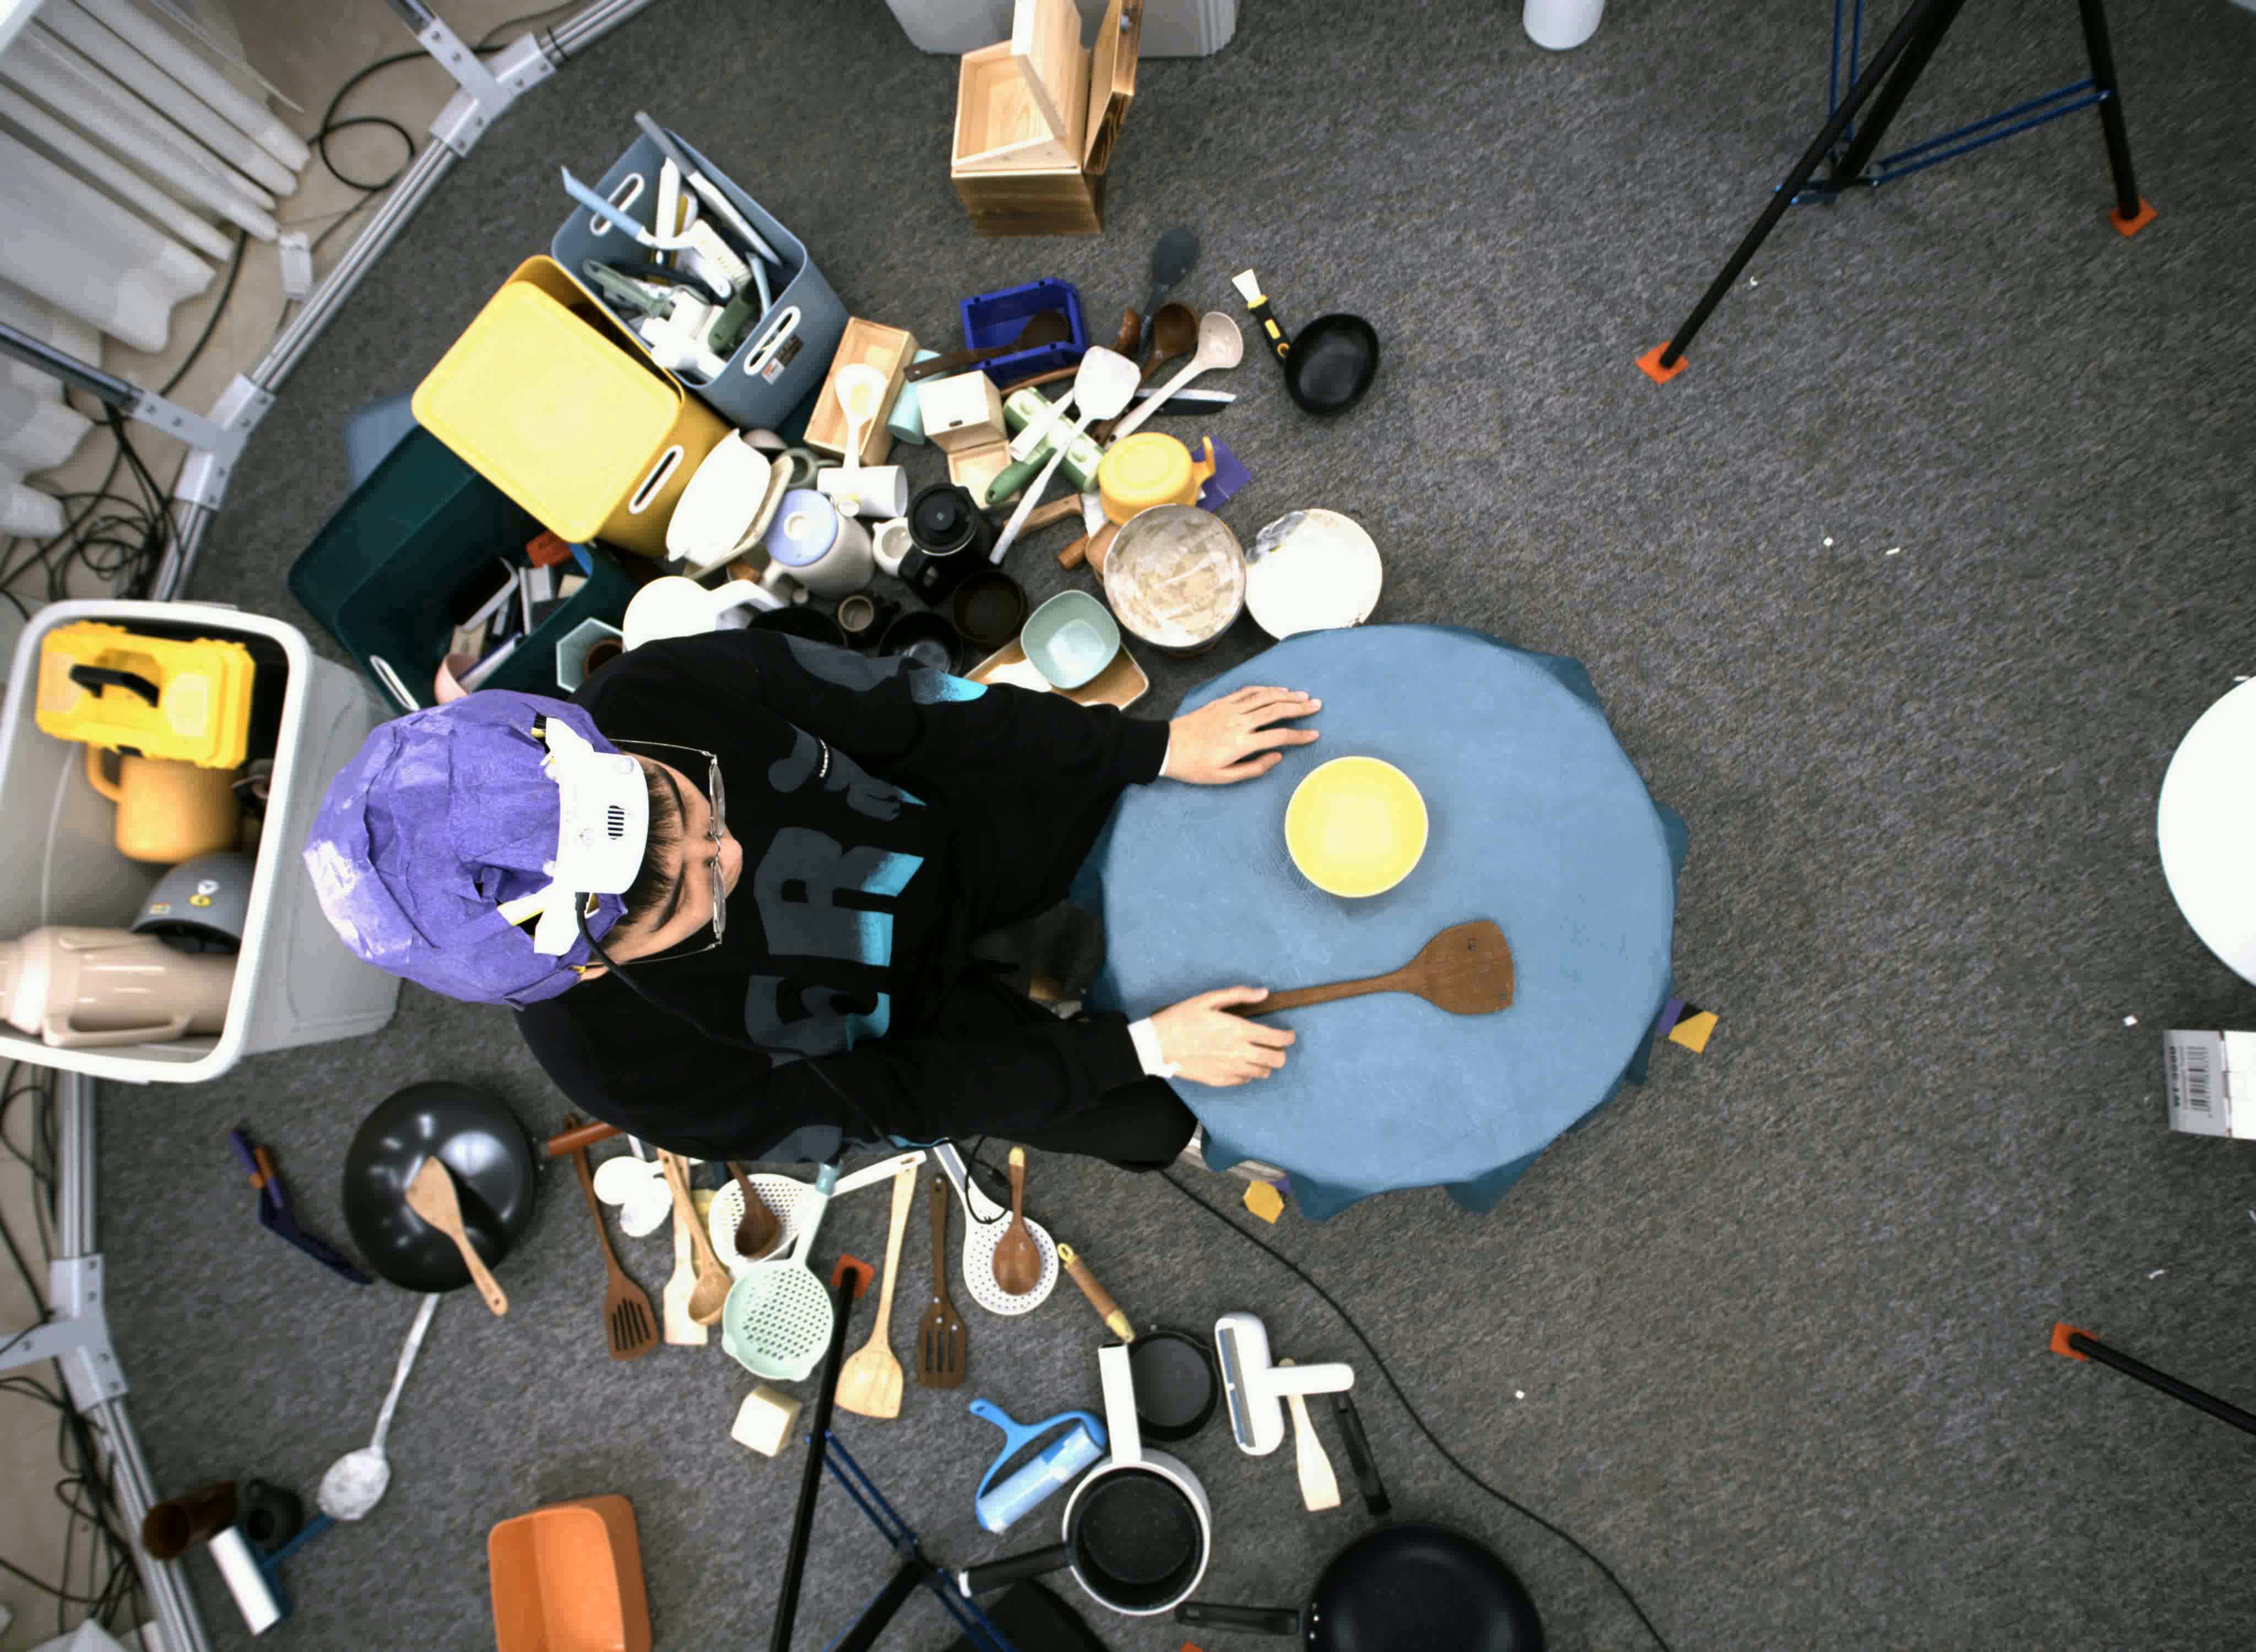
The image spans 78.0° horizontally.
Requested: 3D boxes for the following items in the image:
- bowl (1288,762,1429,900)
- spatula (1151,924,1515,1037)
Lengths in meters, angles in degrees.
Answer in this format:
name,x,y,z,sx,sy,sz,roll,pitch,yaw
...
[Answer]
name,x,y,z,sx,sy,sz,roll,pitch,yaw
bowl,0.241,0.008,1.447,0.146,0.060,0.144,-2,83,11
spatula,0.212,0.178,1.461,0.388,0.016,0.095,-11,84,10
